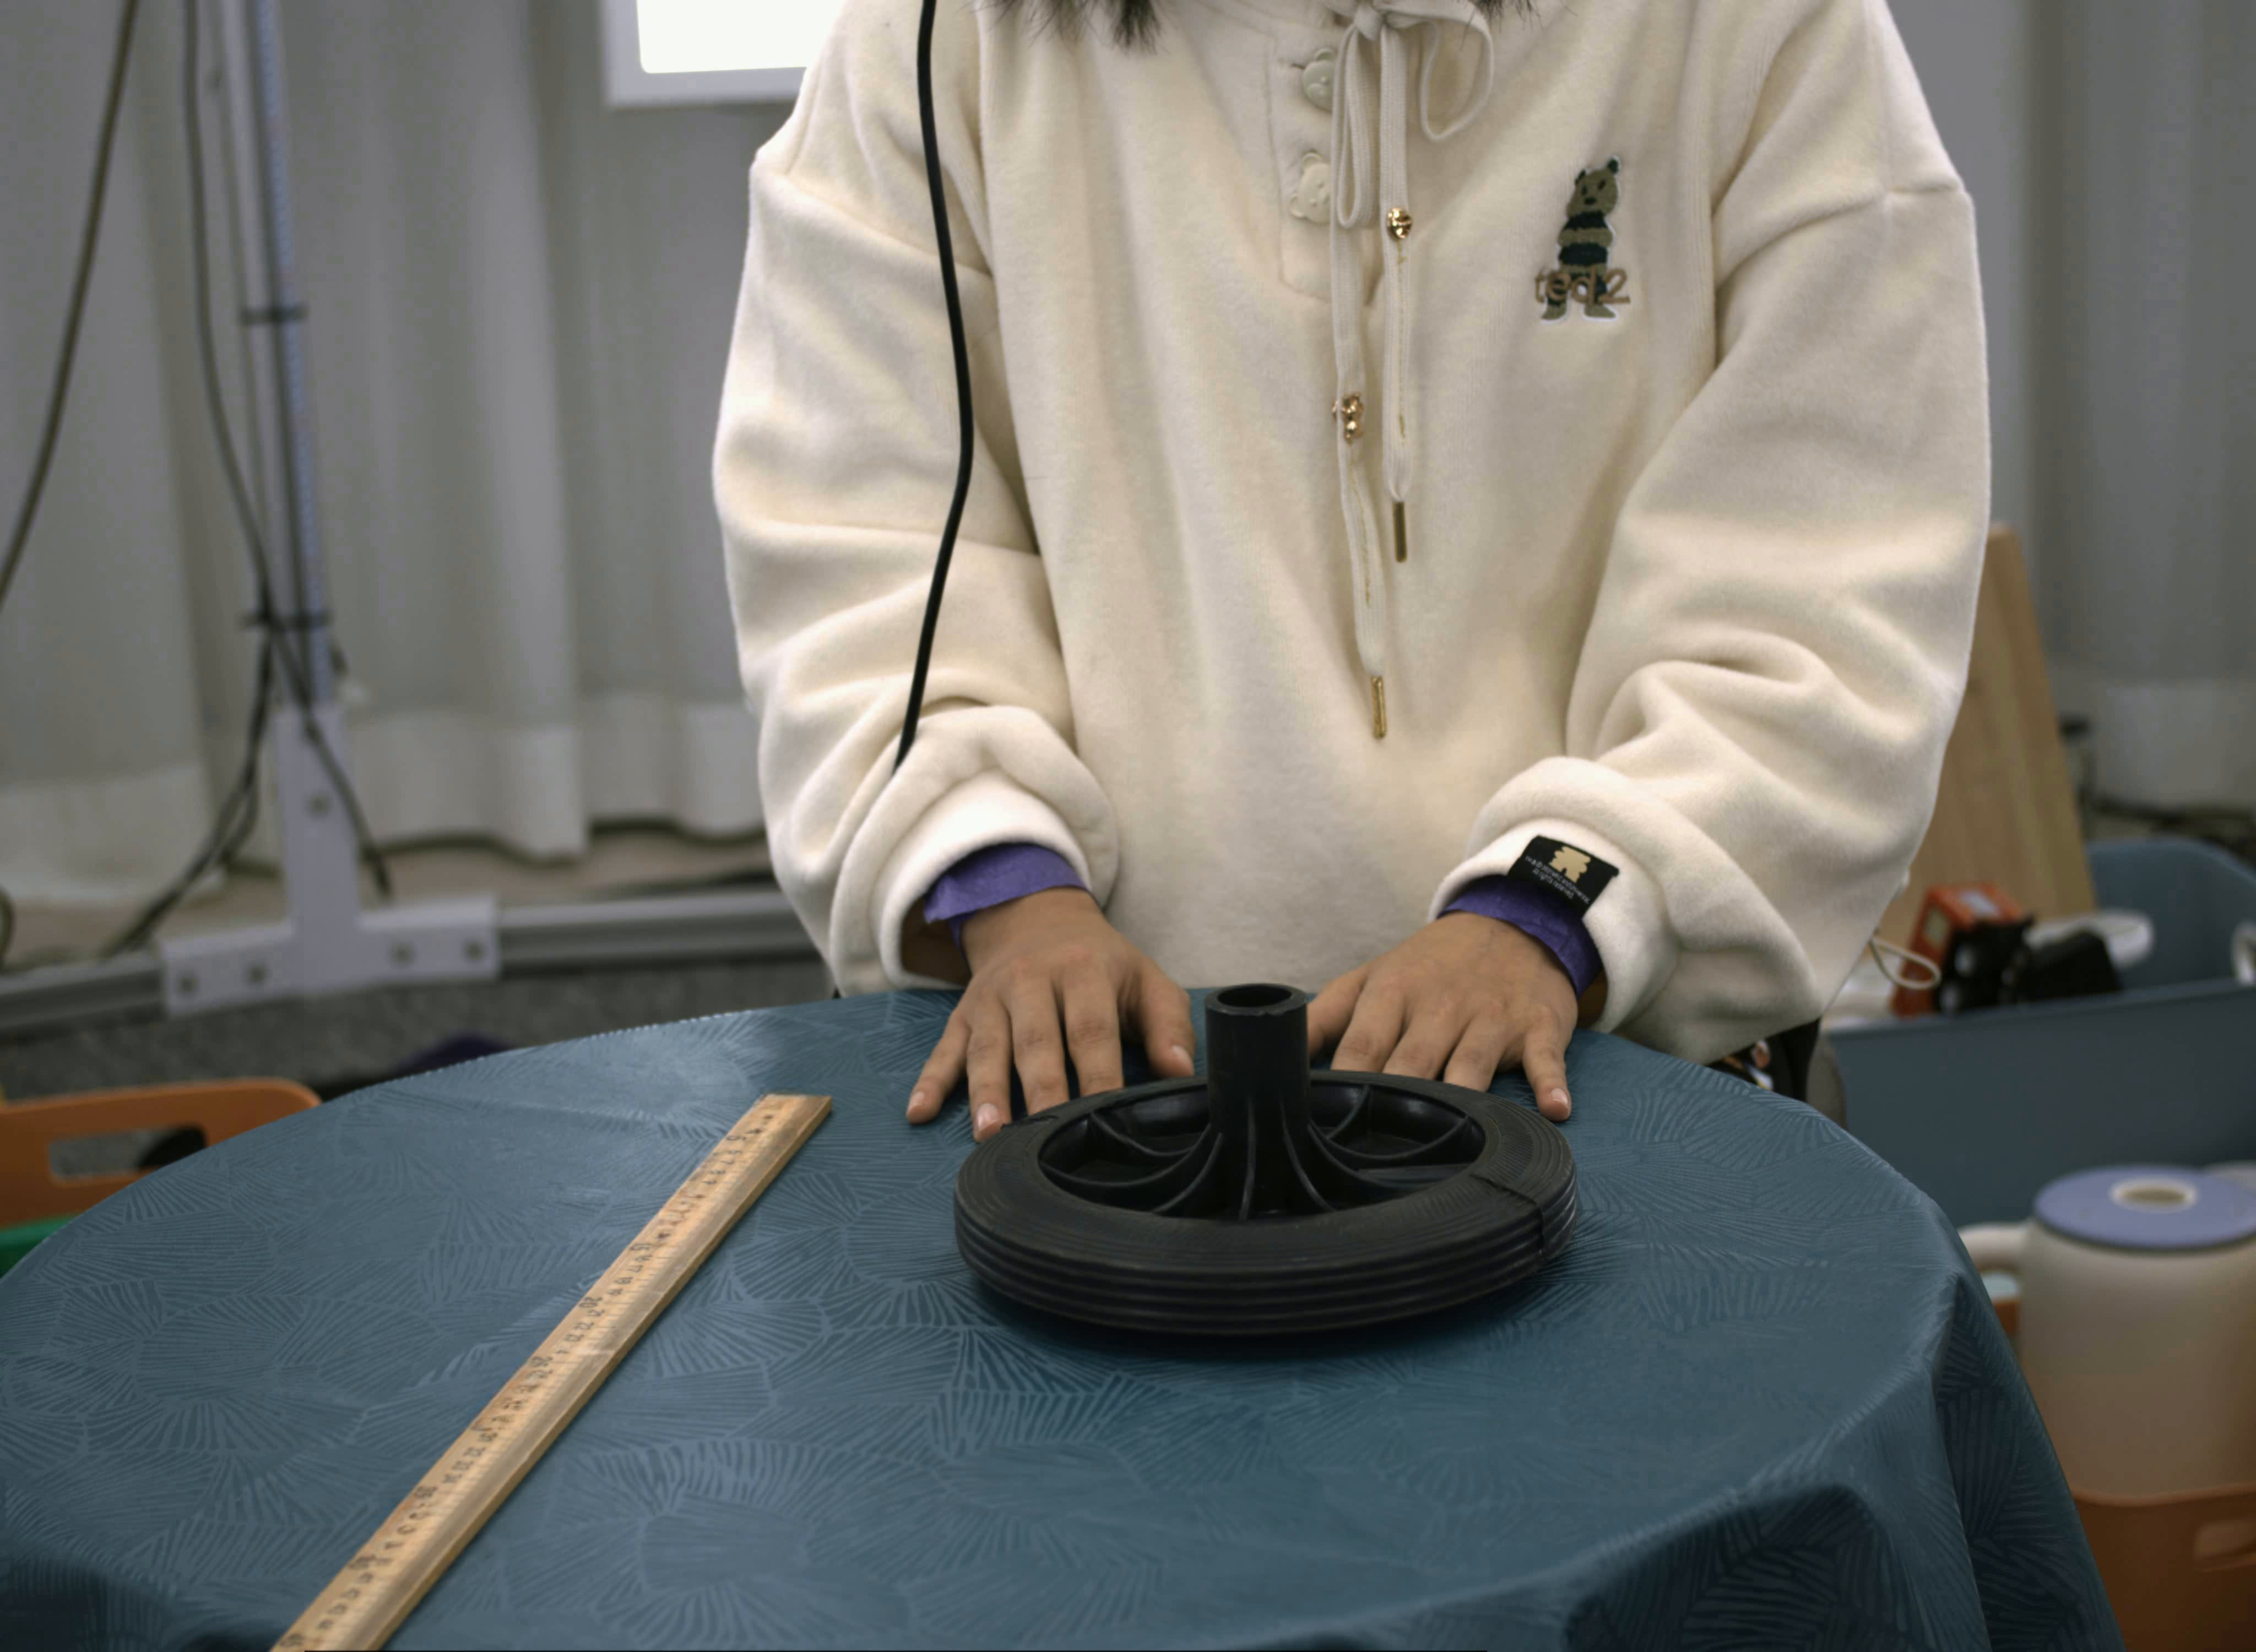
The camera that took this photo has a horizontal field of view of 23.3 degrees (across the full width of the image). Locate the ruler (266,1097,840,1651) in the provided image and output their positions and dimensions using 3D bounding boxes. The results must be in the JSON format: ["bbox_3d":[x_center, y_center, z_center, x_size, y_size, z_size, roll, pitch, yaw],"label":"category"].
[{"bbox_3d":[-0.162,0.157,1.577,0.027,0.006,0.503,-1,15,13],"label":"ruler"}]

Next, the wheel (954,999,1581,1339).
[{"bbox_3d":[0.041,0.094,1.638,0.189,0.079,0.189,-8,15,-21],"label":"wheel"}]
